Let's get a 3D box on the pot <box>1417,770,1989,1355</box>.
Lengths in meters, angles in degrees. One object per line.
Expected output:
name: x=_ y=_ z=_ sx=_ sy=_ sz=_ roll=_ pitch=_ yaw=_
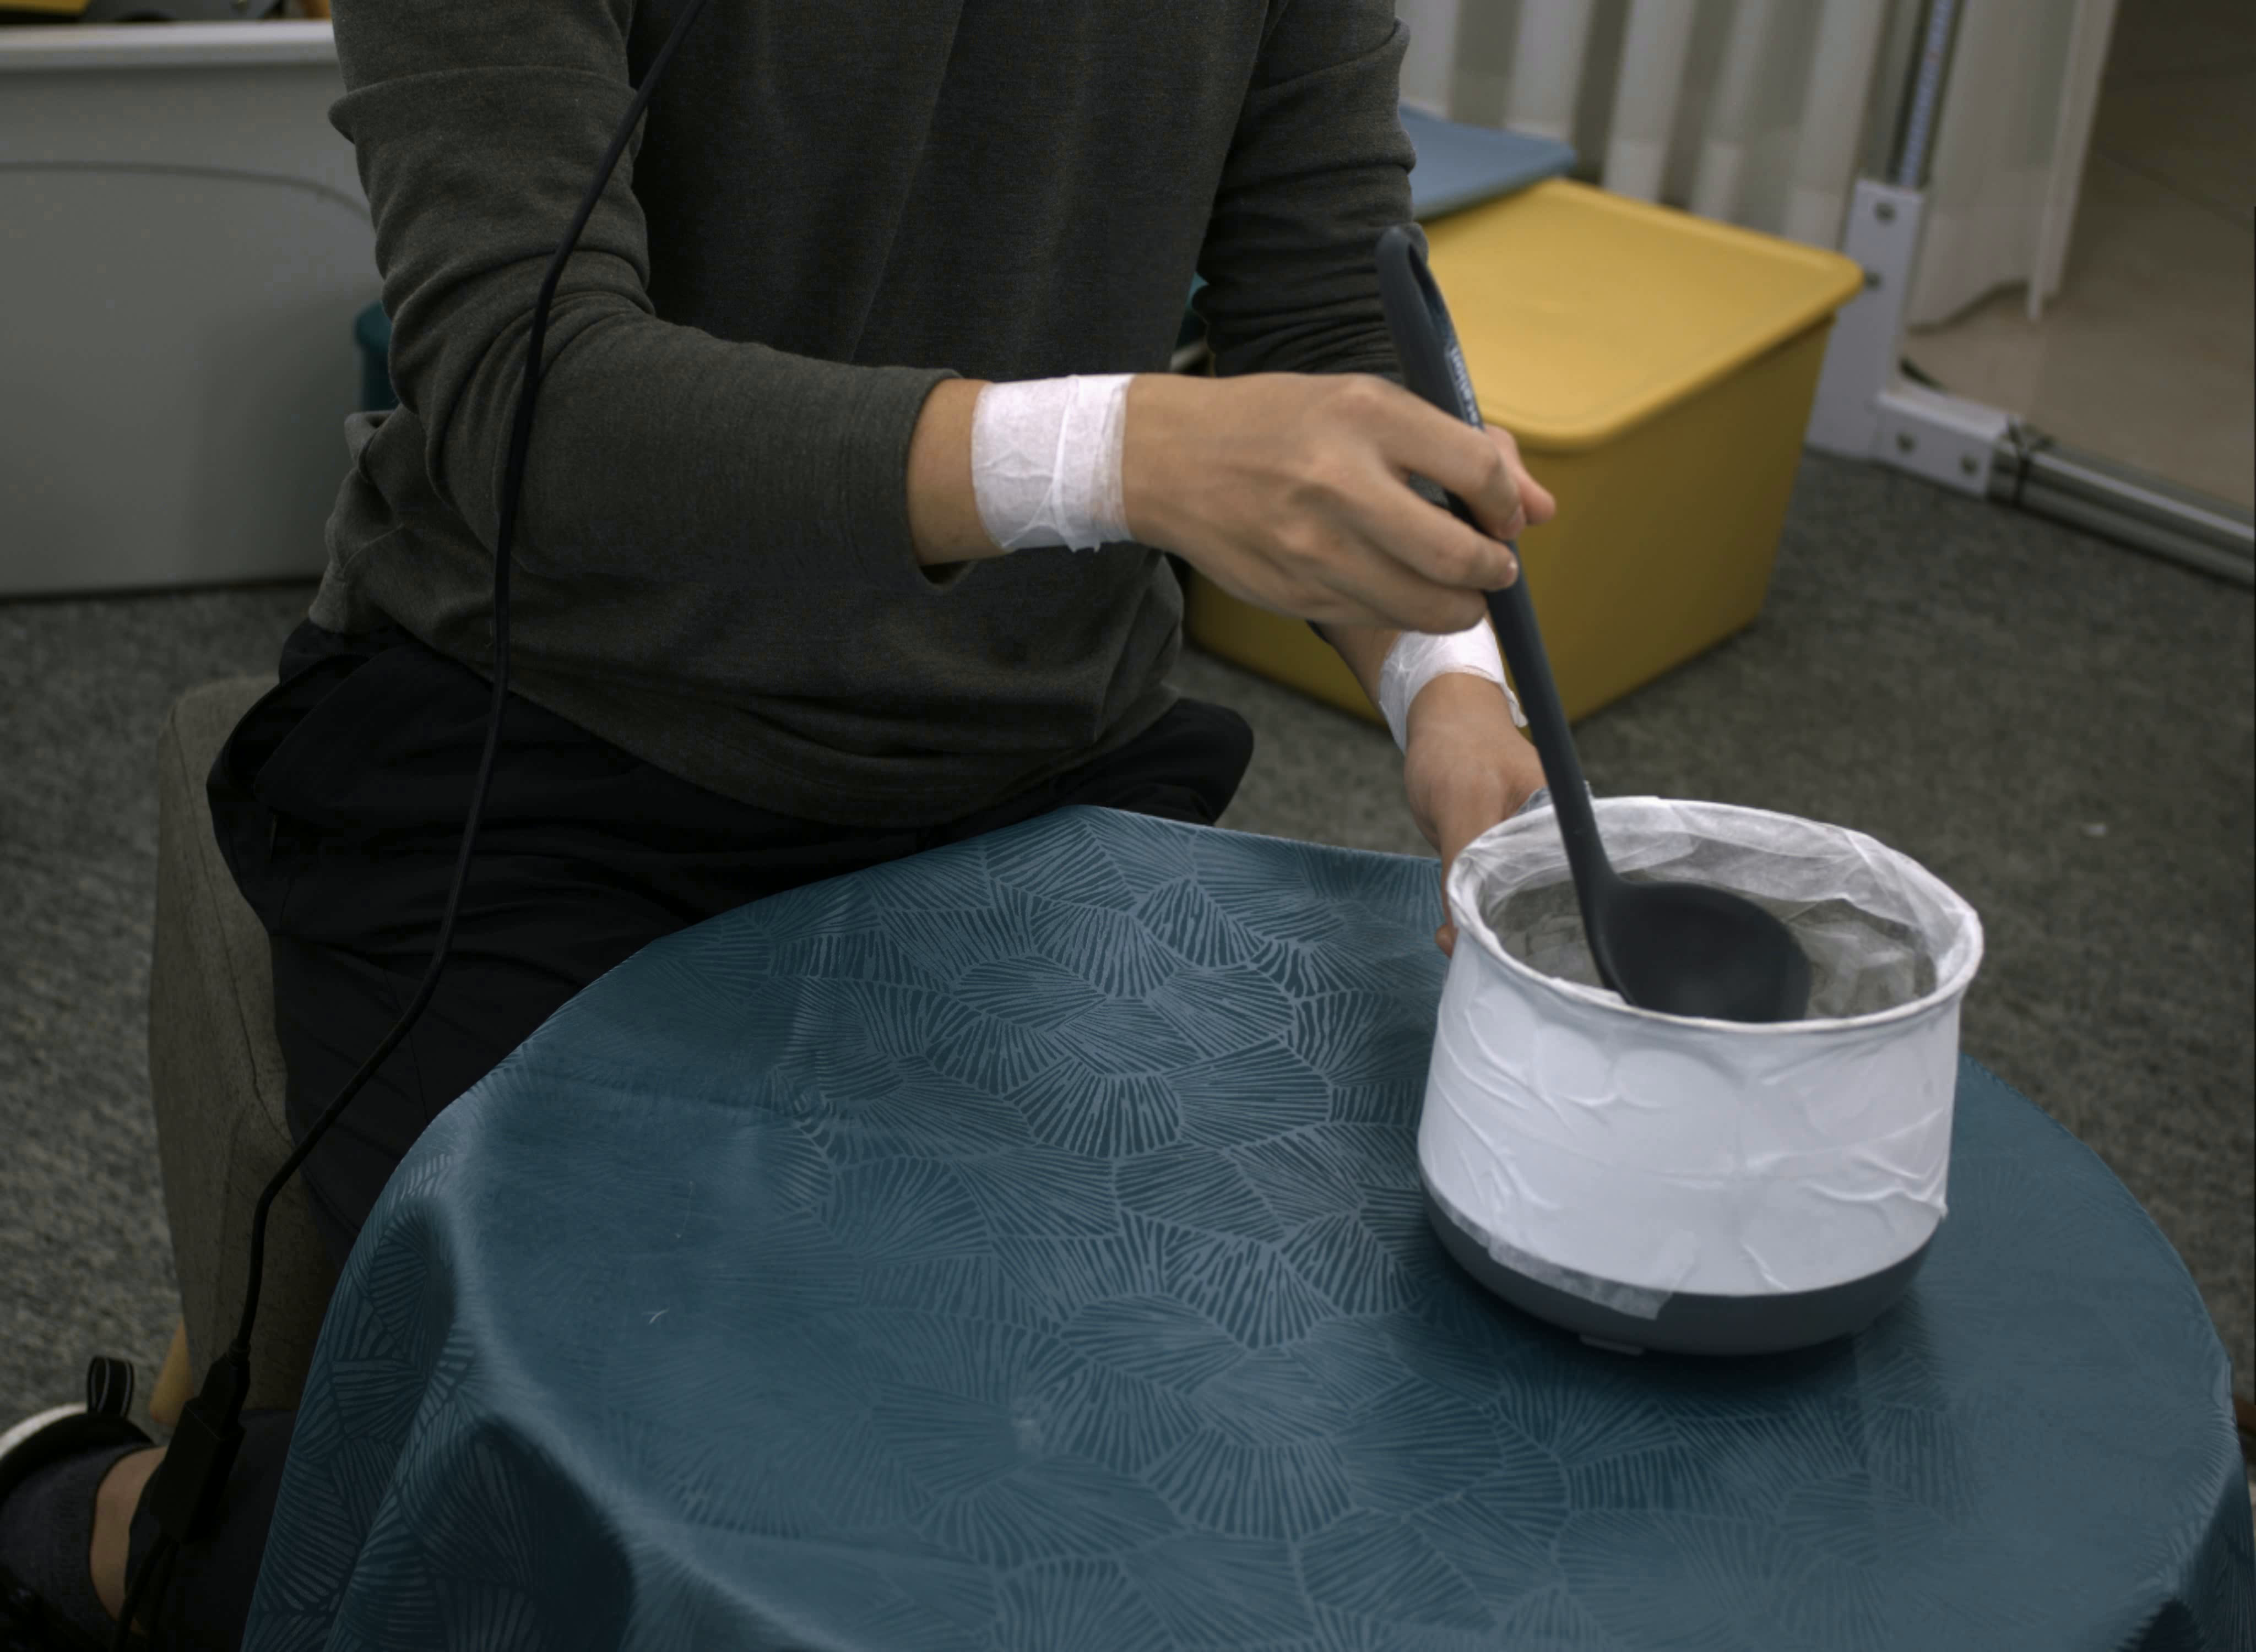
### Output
pot: x=0.176 y=0.072 z=1.790 sx=0.177 sy=0.136 sz=0.236 roll=-6 pitch=26 yaw=-25

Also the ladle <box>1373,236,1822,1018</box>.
ladle: x=0.151 y=-0.054 z=1.717 sx=0.064 sy=0.312 sz=0.086 roll=-9 pitch=28 yaw=24
